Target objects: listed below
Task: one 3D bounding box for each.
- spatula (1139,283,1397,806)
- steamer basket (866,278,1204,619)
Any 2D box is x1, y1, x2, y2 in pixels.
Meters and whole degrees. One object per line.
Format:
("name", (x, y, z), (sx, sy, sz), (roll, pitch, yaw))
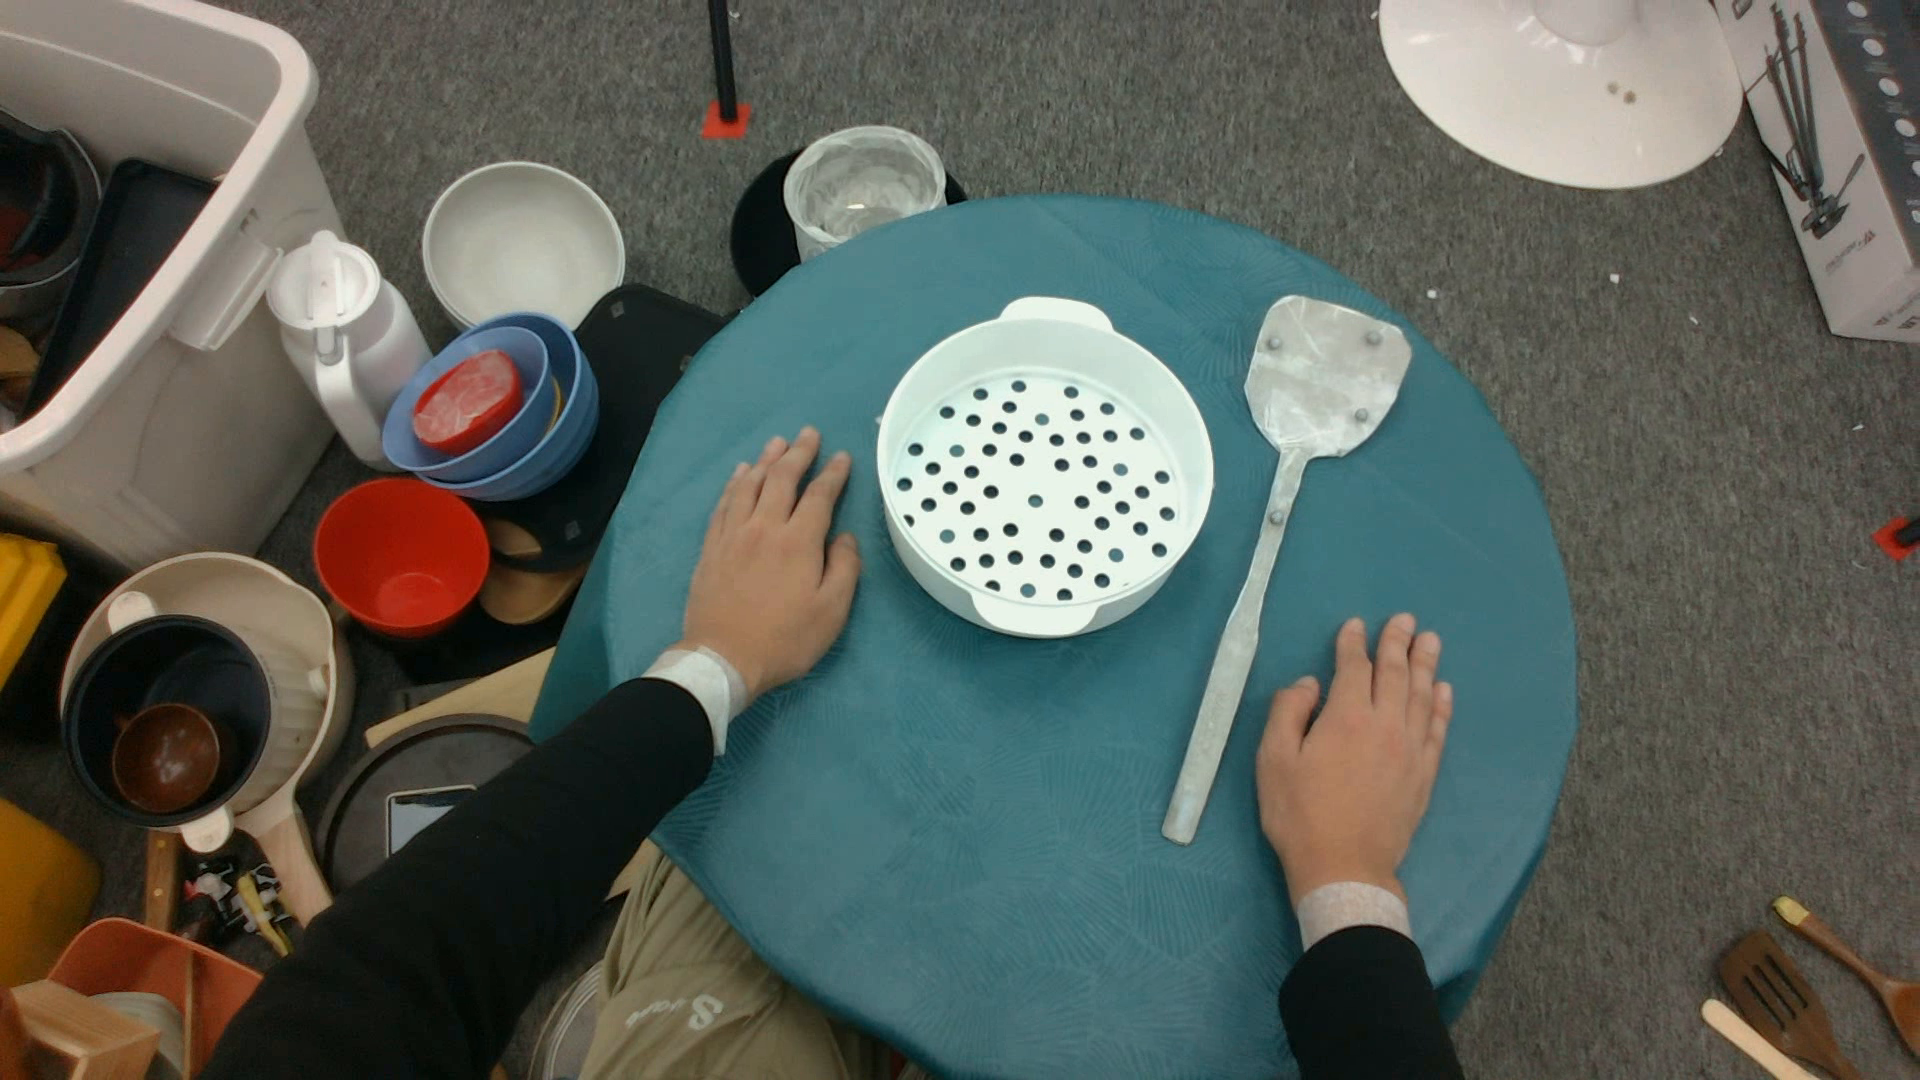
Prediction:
("spatula", (0.181, -0.003, 0.850), (0.098, 0.044, 0.366), (22, 64, 4))
("steamer basket", (0.043, -0.050, 0.844), (0.202, 0.069, 0.231), (7, 64, 0))
